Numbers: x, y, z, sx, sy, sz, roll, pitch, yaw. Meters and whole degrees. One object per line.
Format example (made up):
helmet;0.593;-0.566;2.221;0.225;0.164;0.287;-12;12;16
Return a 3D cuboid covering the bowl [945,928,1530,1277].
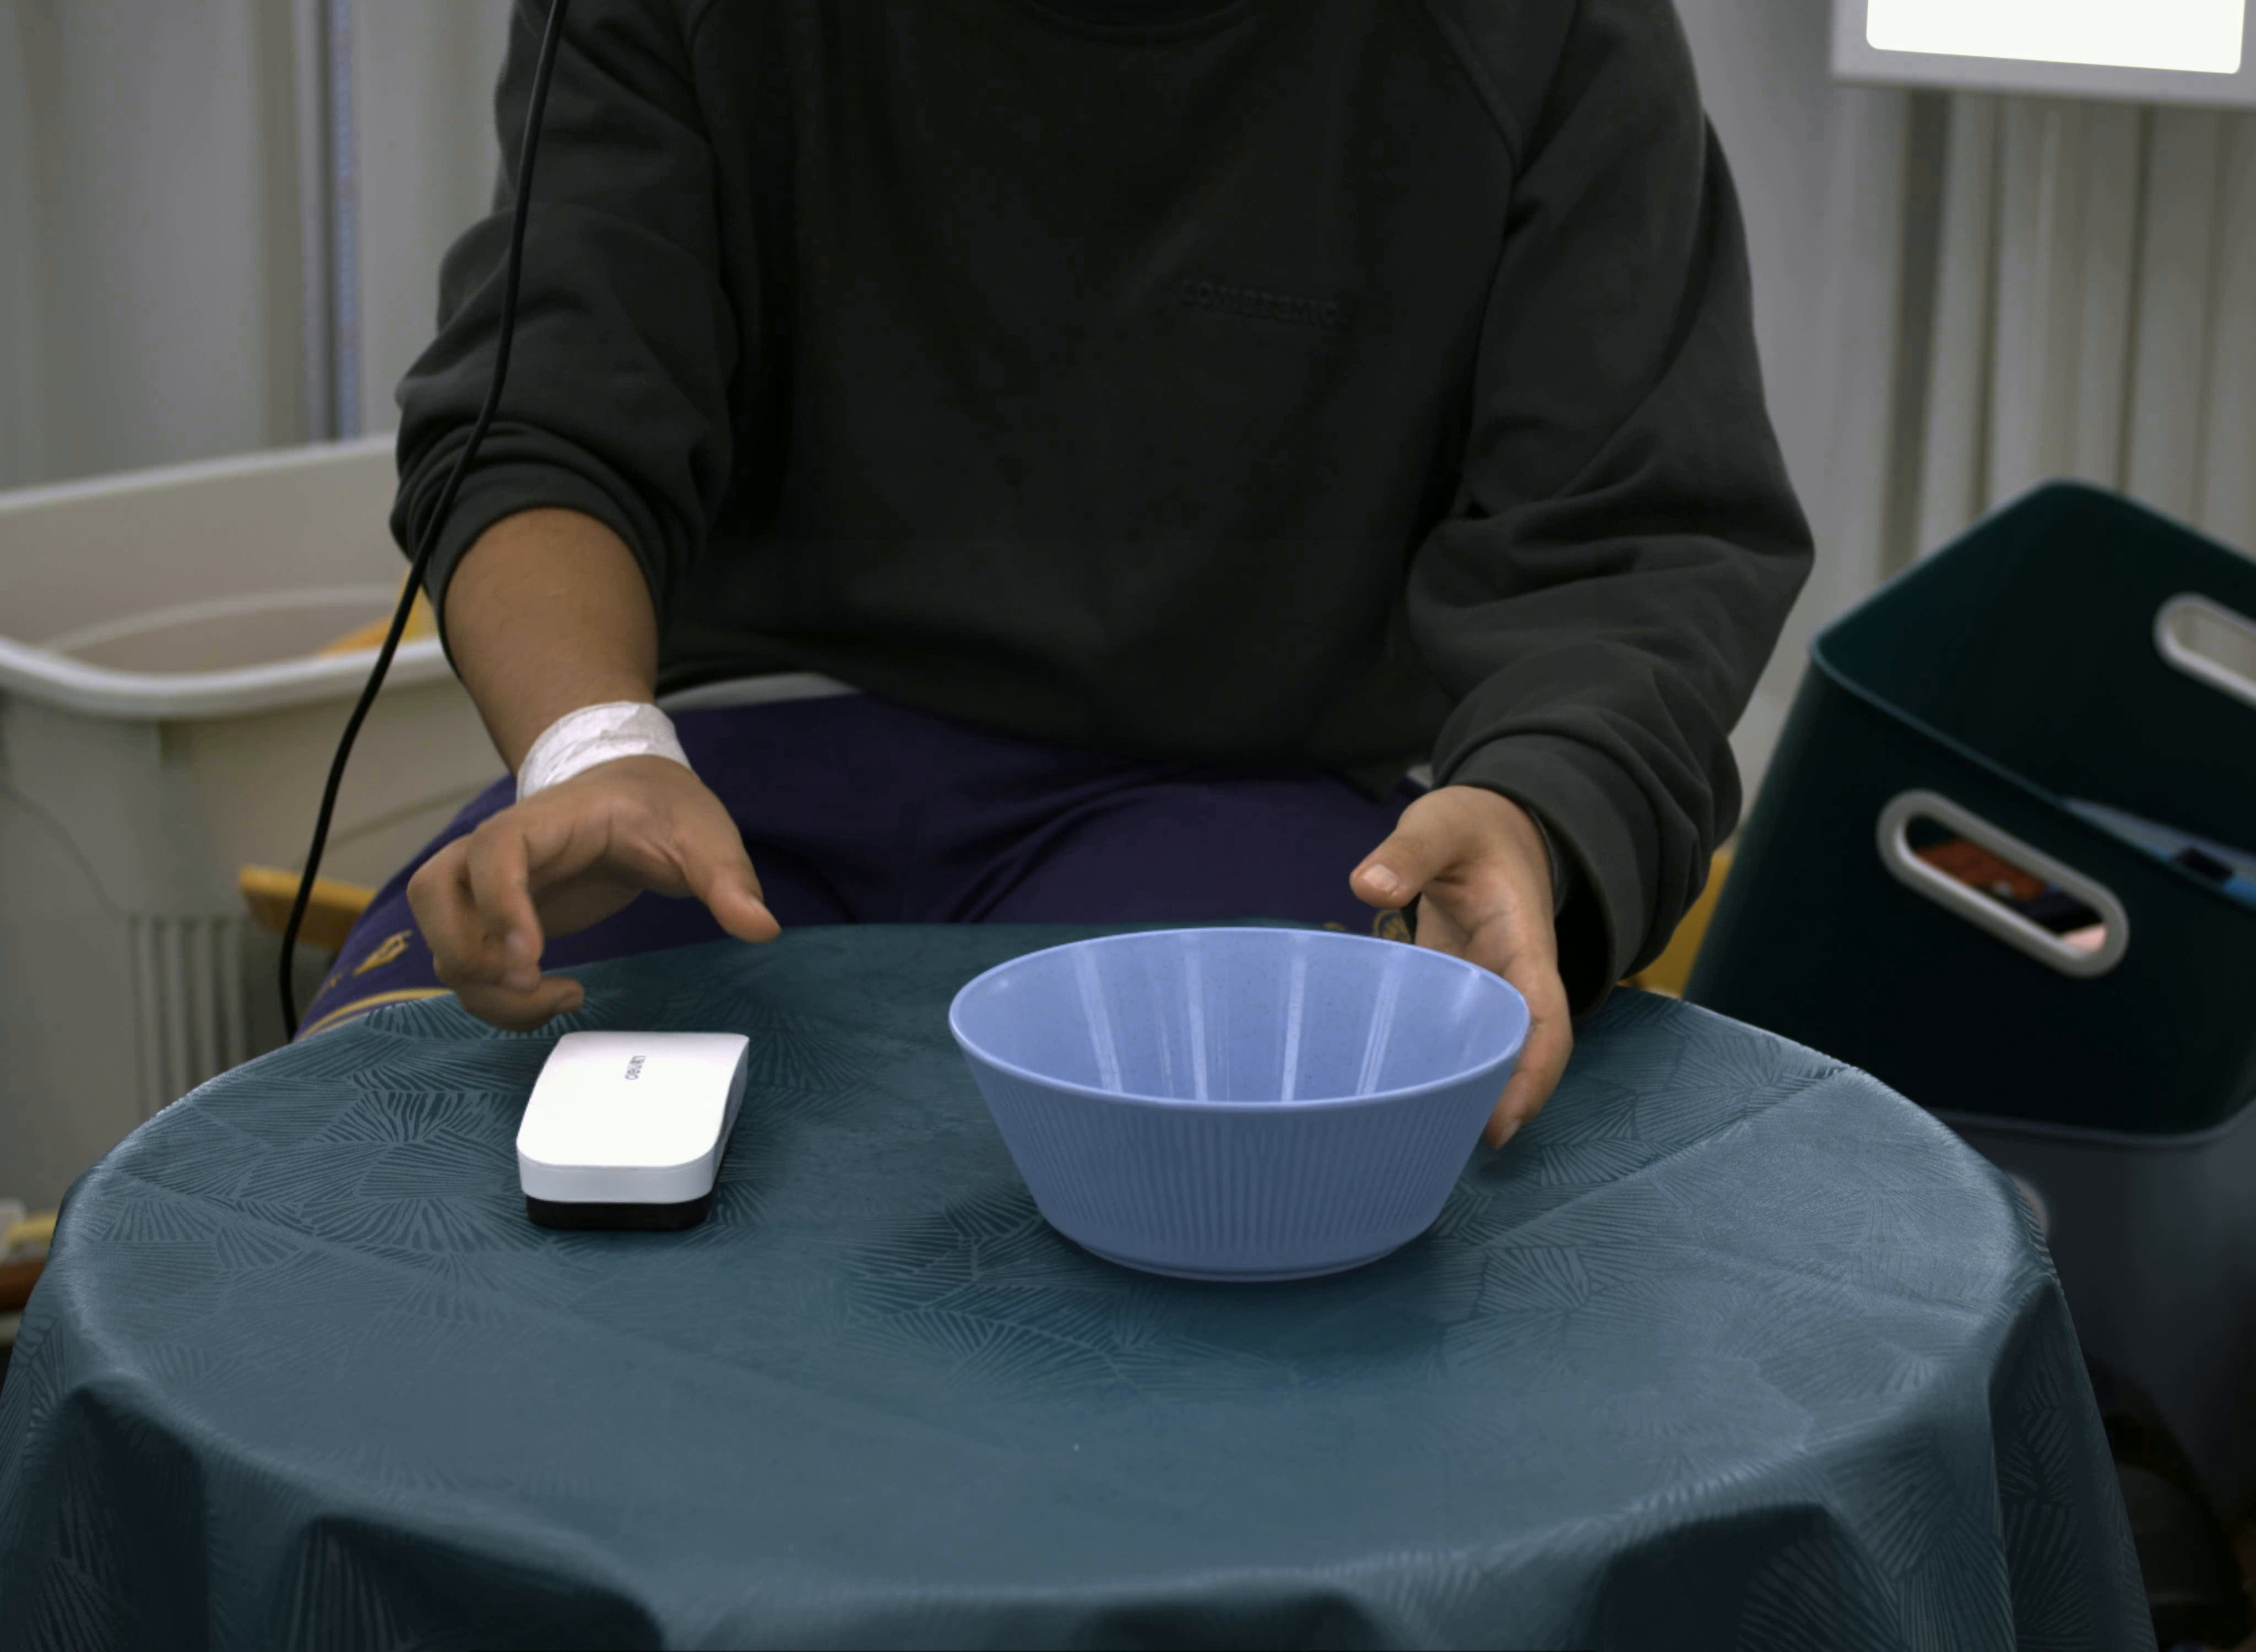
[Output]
bowl;0.032;0.085;1.586;0.175;0.071;0.175;2;16;0

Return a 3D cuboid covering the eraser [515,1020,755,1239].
eraser;-0.151;0.090;1.637;0.063;0.035;0.130;3;18;3
